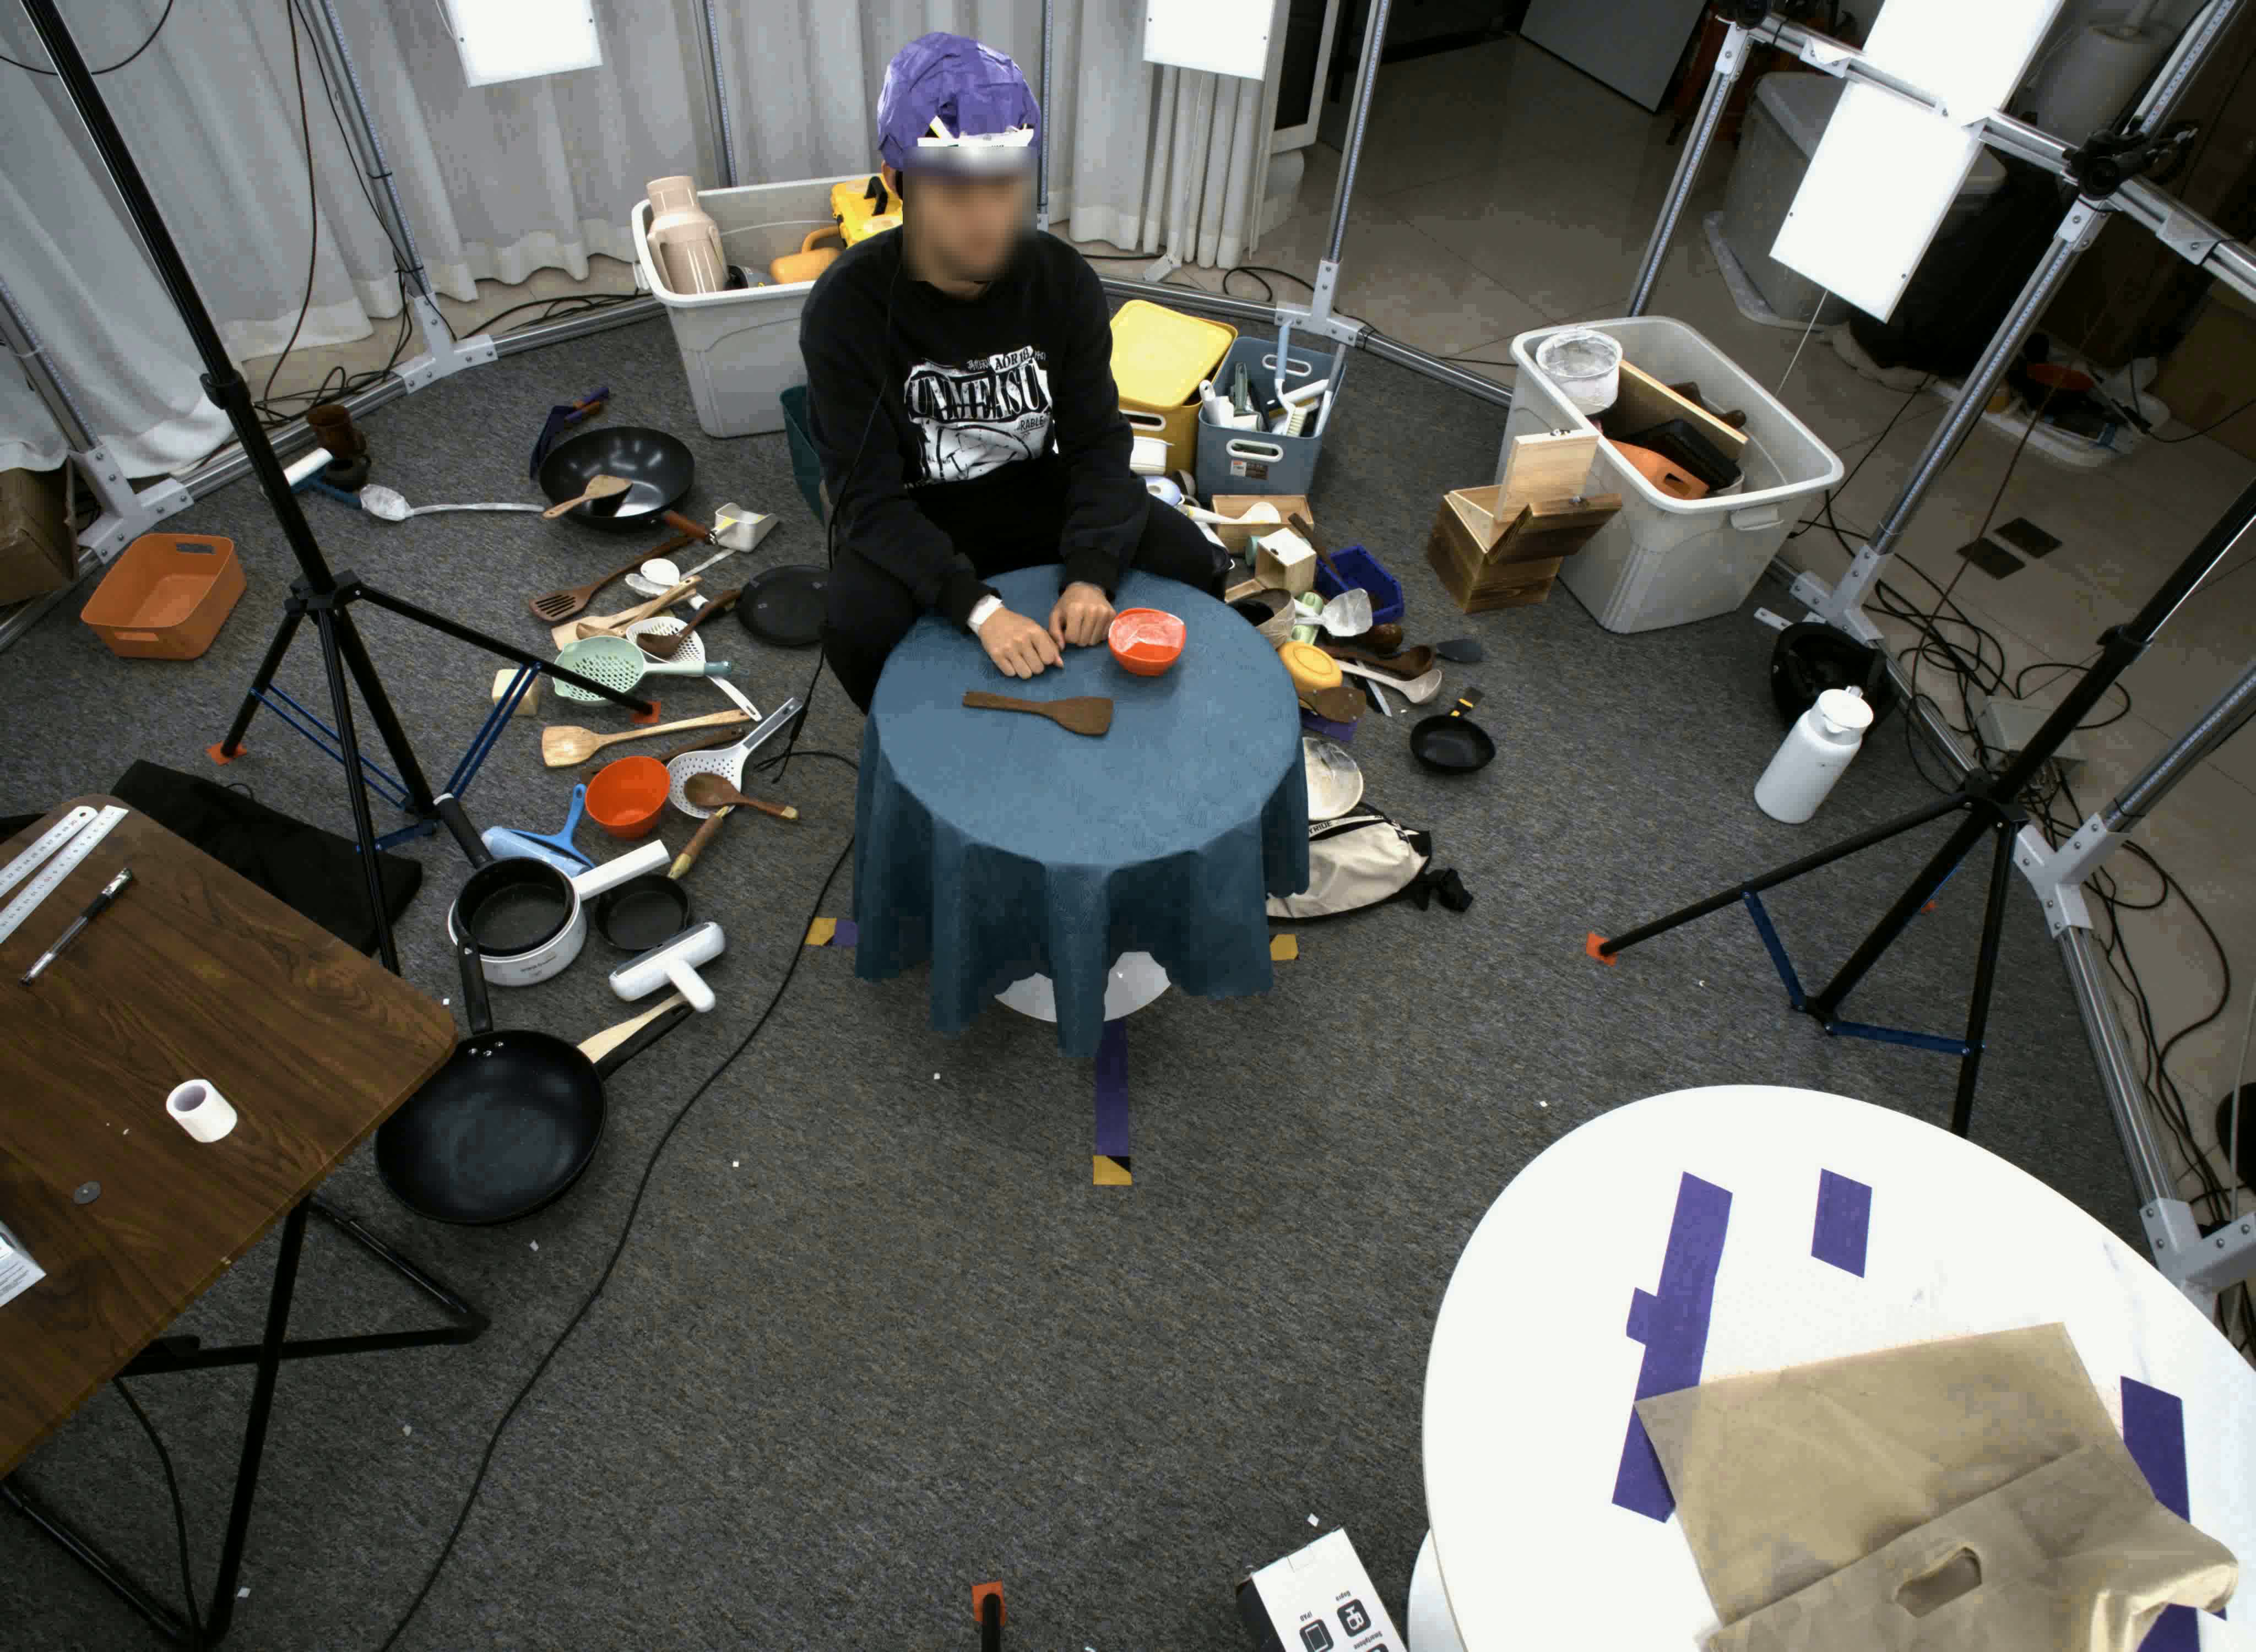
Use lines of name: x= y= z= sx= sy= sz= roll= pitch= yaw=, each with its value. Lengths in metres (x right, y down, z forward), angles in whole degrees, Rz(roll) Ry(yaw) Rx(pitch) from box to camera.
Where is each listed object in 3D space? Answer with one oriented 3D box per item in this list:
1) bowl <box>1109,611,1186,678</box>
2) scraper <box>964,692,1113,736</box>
bowl: x=0.028 y=-0.259 z=1.881 sx=0.119 sy=0.050 sz=0.122 roll=2 pitch=51 yaw=-2
scraper: x=-0.126 y=-0.165 z=1.815 sx=0.211 sy=0.010 sz=0.077 roll=8 pitch=48 yaw=4
